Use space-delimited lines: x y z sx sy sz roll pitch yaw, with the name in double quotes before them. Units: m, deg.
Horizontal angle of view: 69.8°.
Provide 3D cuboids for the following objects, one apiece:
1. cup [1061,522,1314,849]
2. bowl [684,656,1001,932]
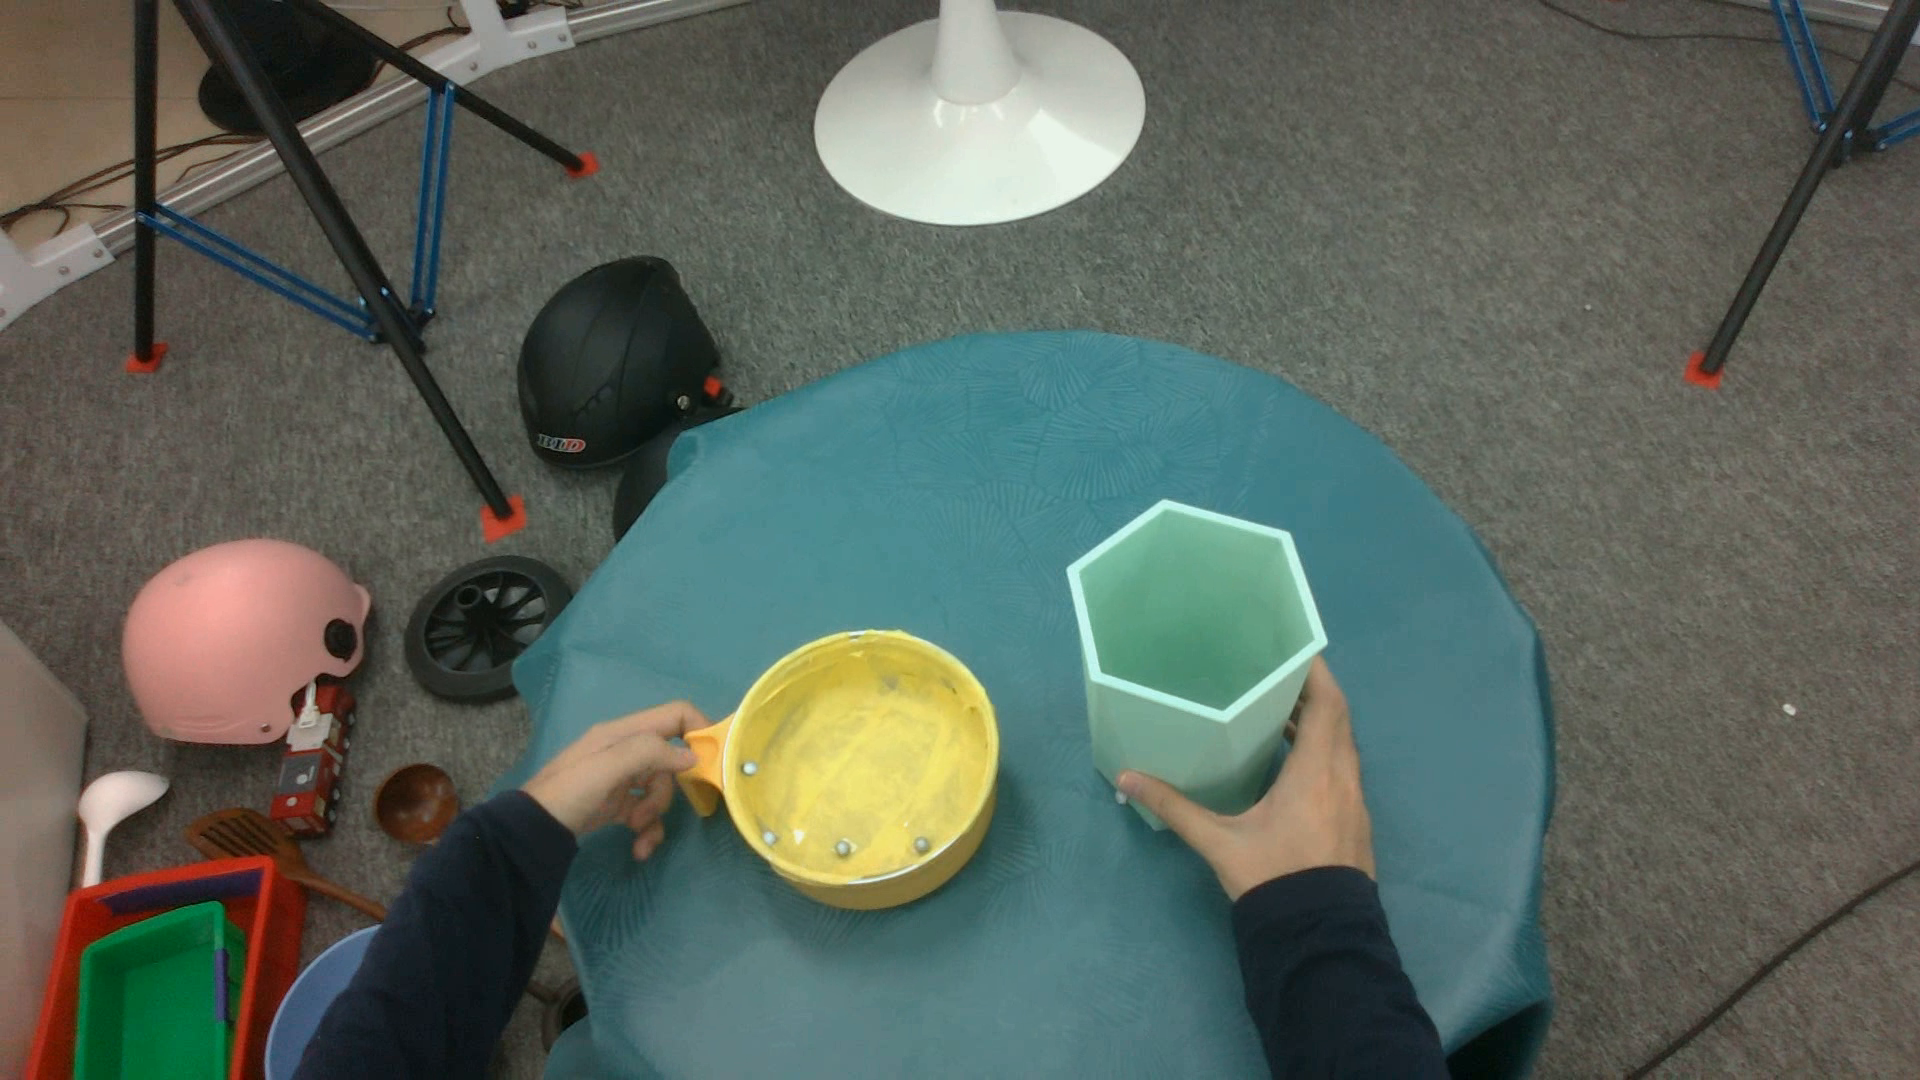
"cup" 0.121 0.088 0.746 0.131 0.162 0.116 14 57 18
"bowl" -0.064 0.147 0.785 0.179 0.074 0.153 -3 55 3
